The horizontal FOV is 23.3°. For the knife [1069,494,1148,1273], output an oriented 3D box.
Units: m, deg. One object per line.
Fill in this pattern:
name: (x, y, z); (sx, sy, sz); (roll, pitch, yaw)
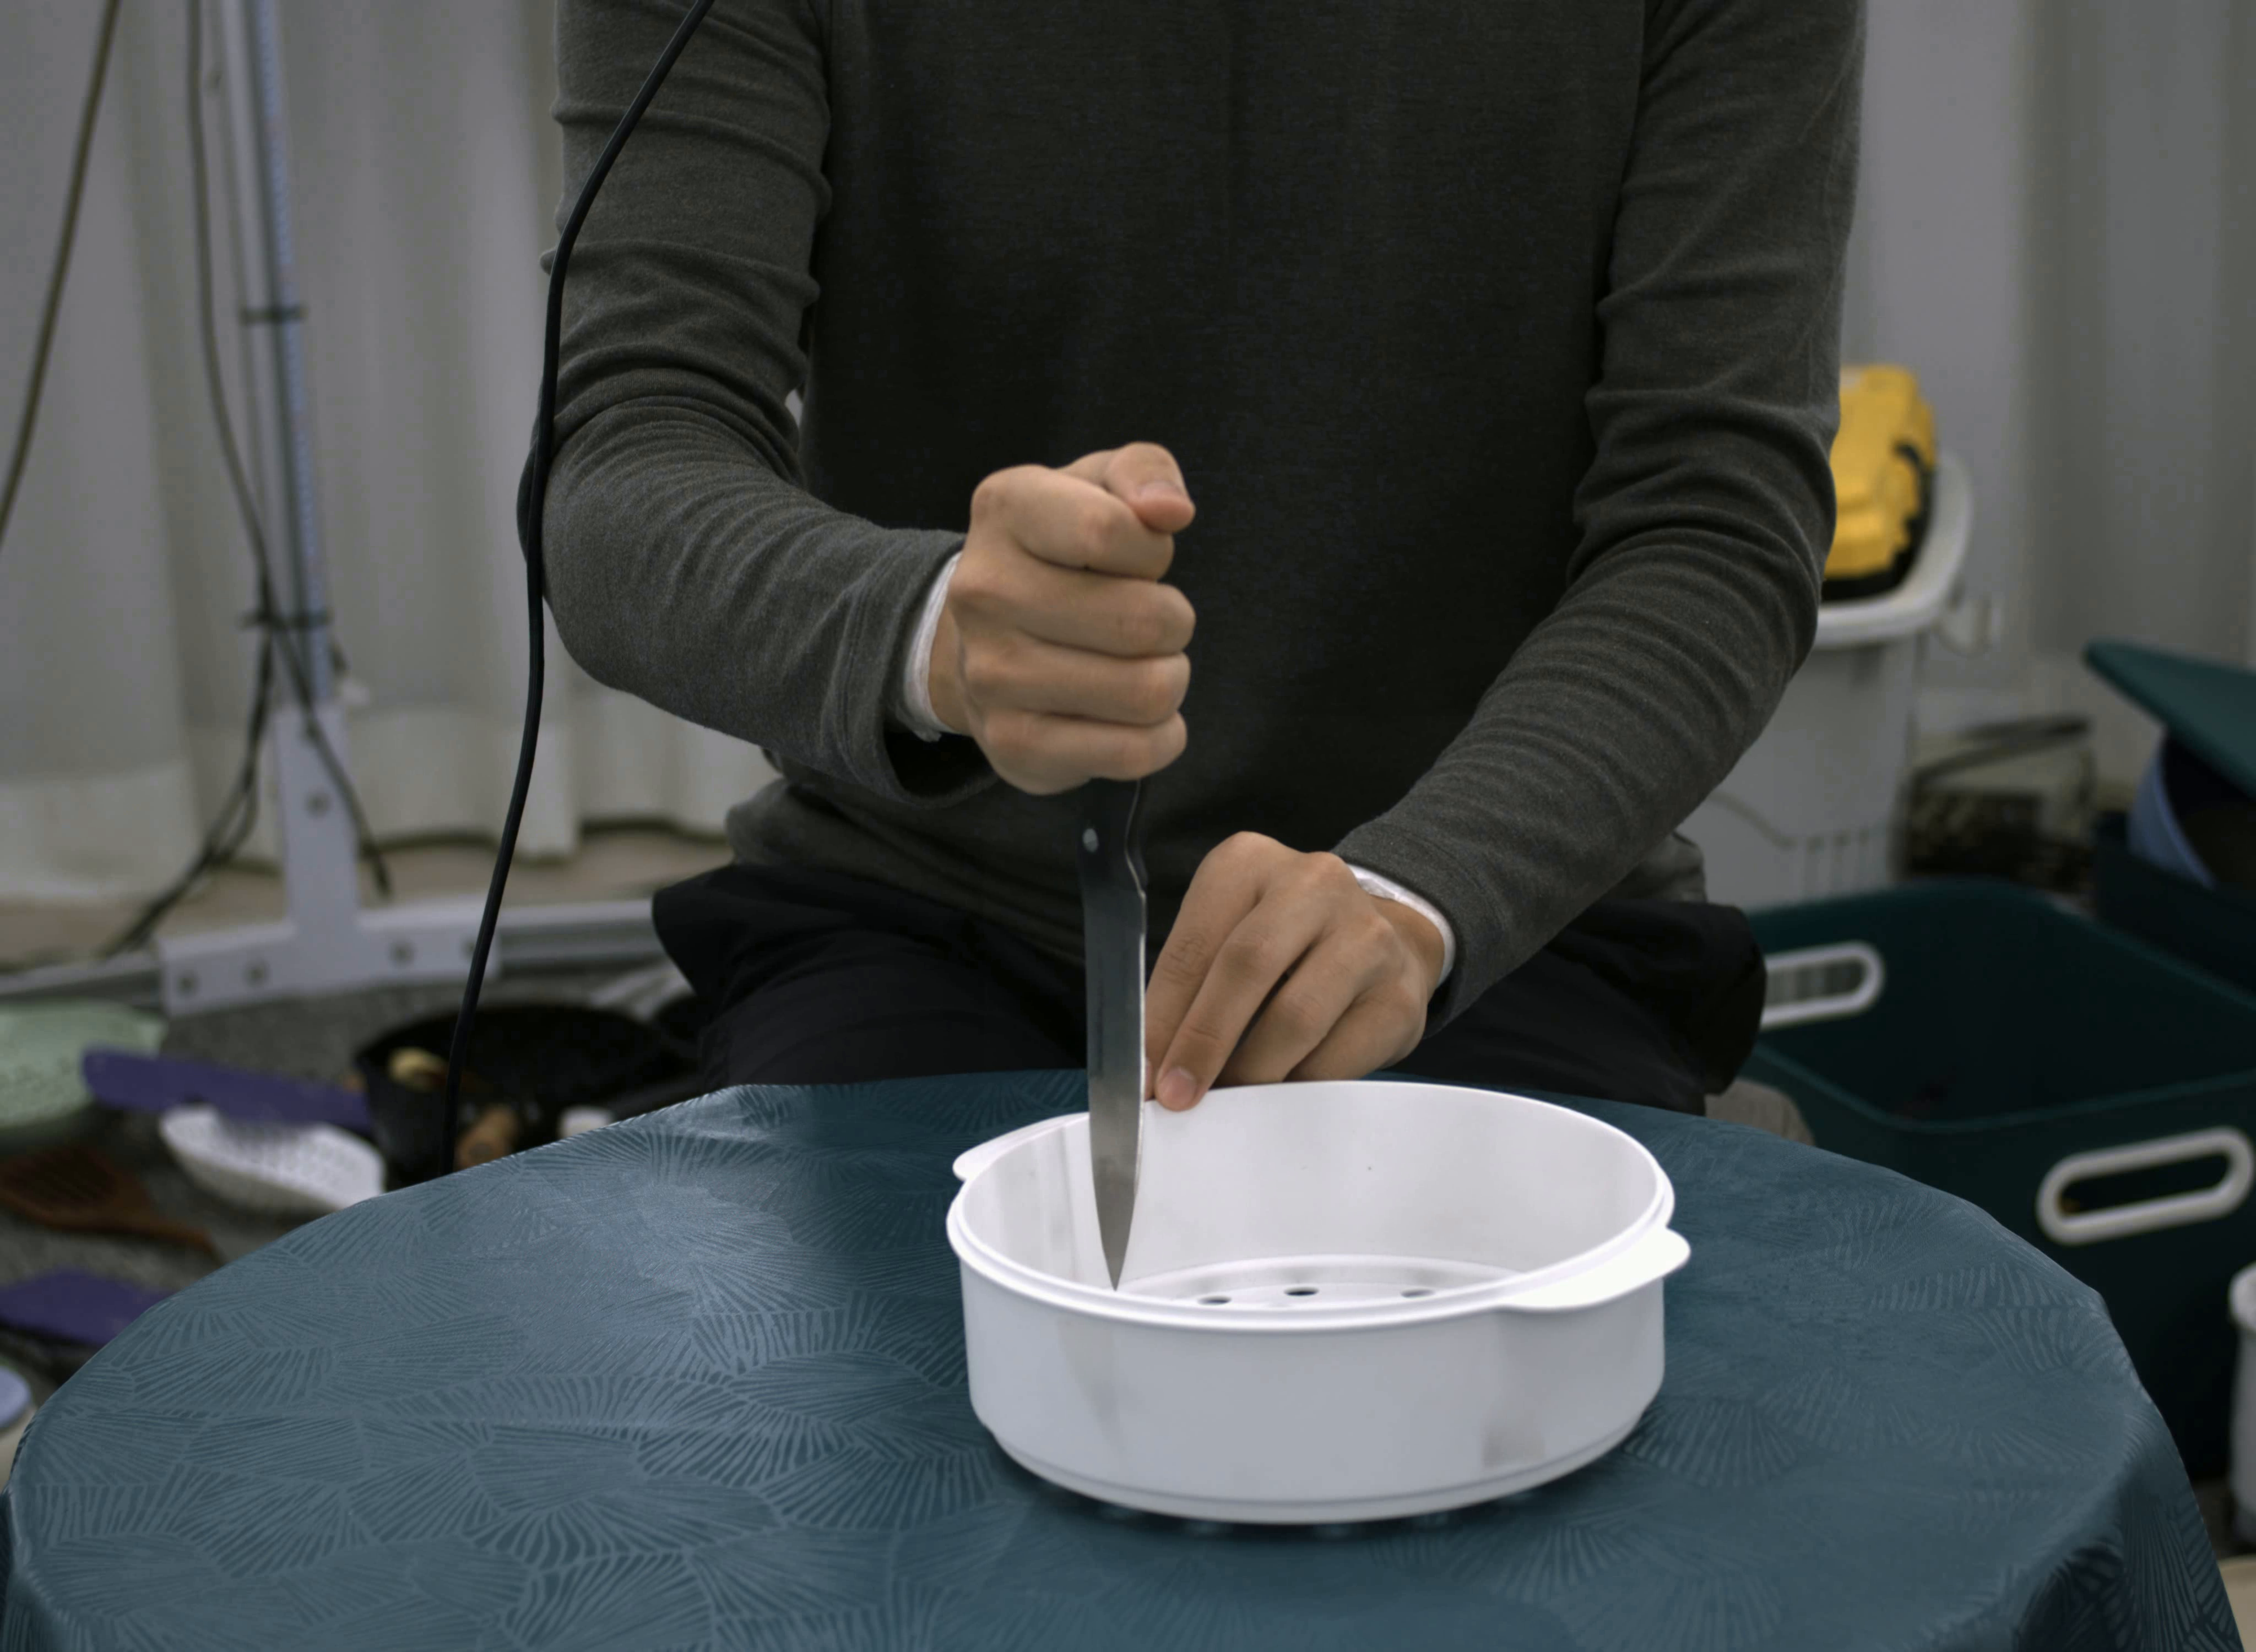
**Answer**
knife: (-0.004, 0.021, 1.536); (0.016, 0.237, 0.024); (-17, 23, -40)

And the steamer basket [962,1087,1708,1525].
steamer basket: (0.056, 0.132, 1.510); (0.231, 0.069, 0.201); (10, 19, 41)
